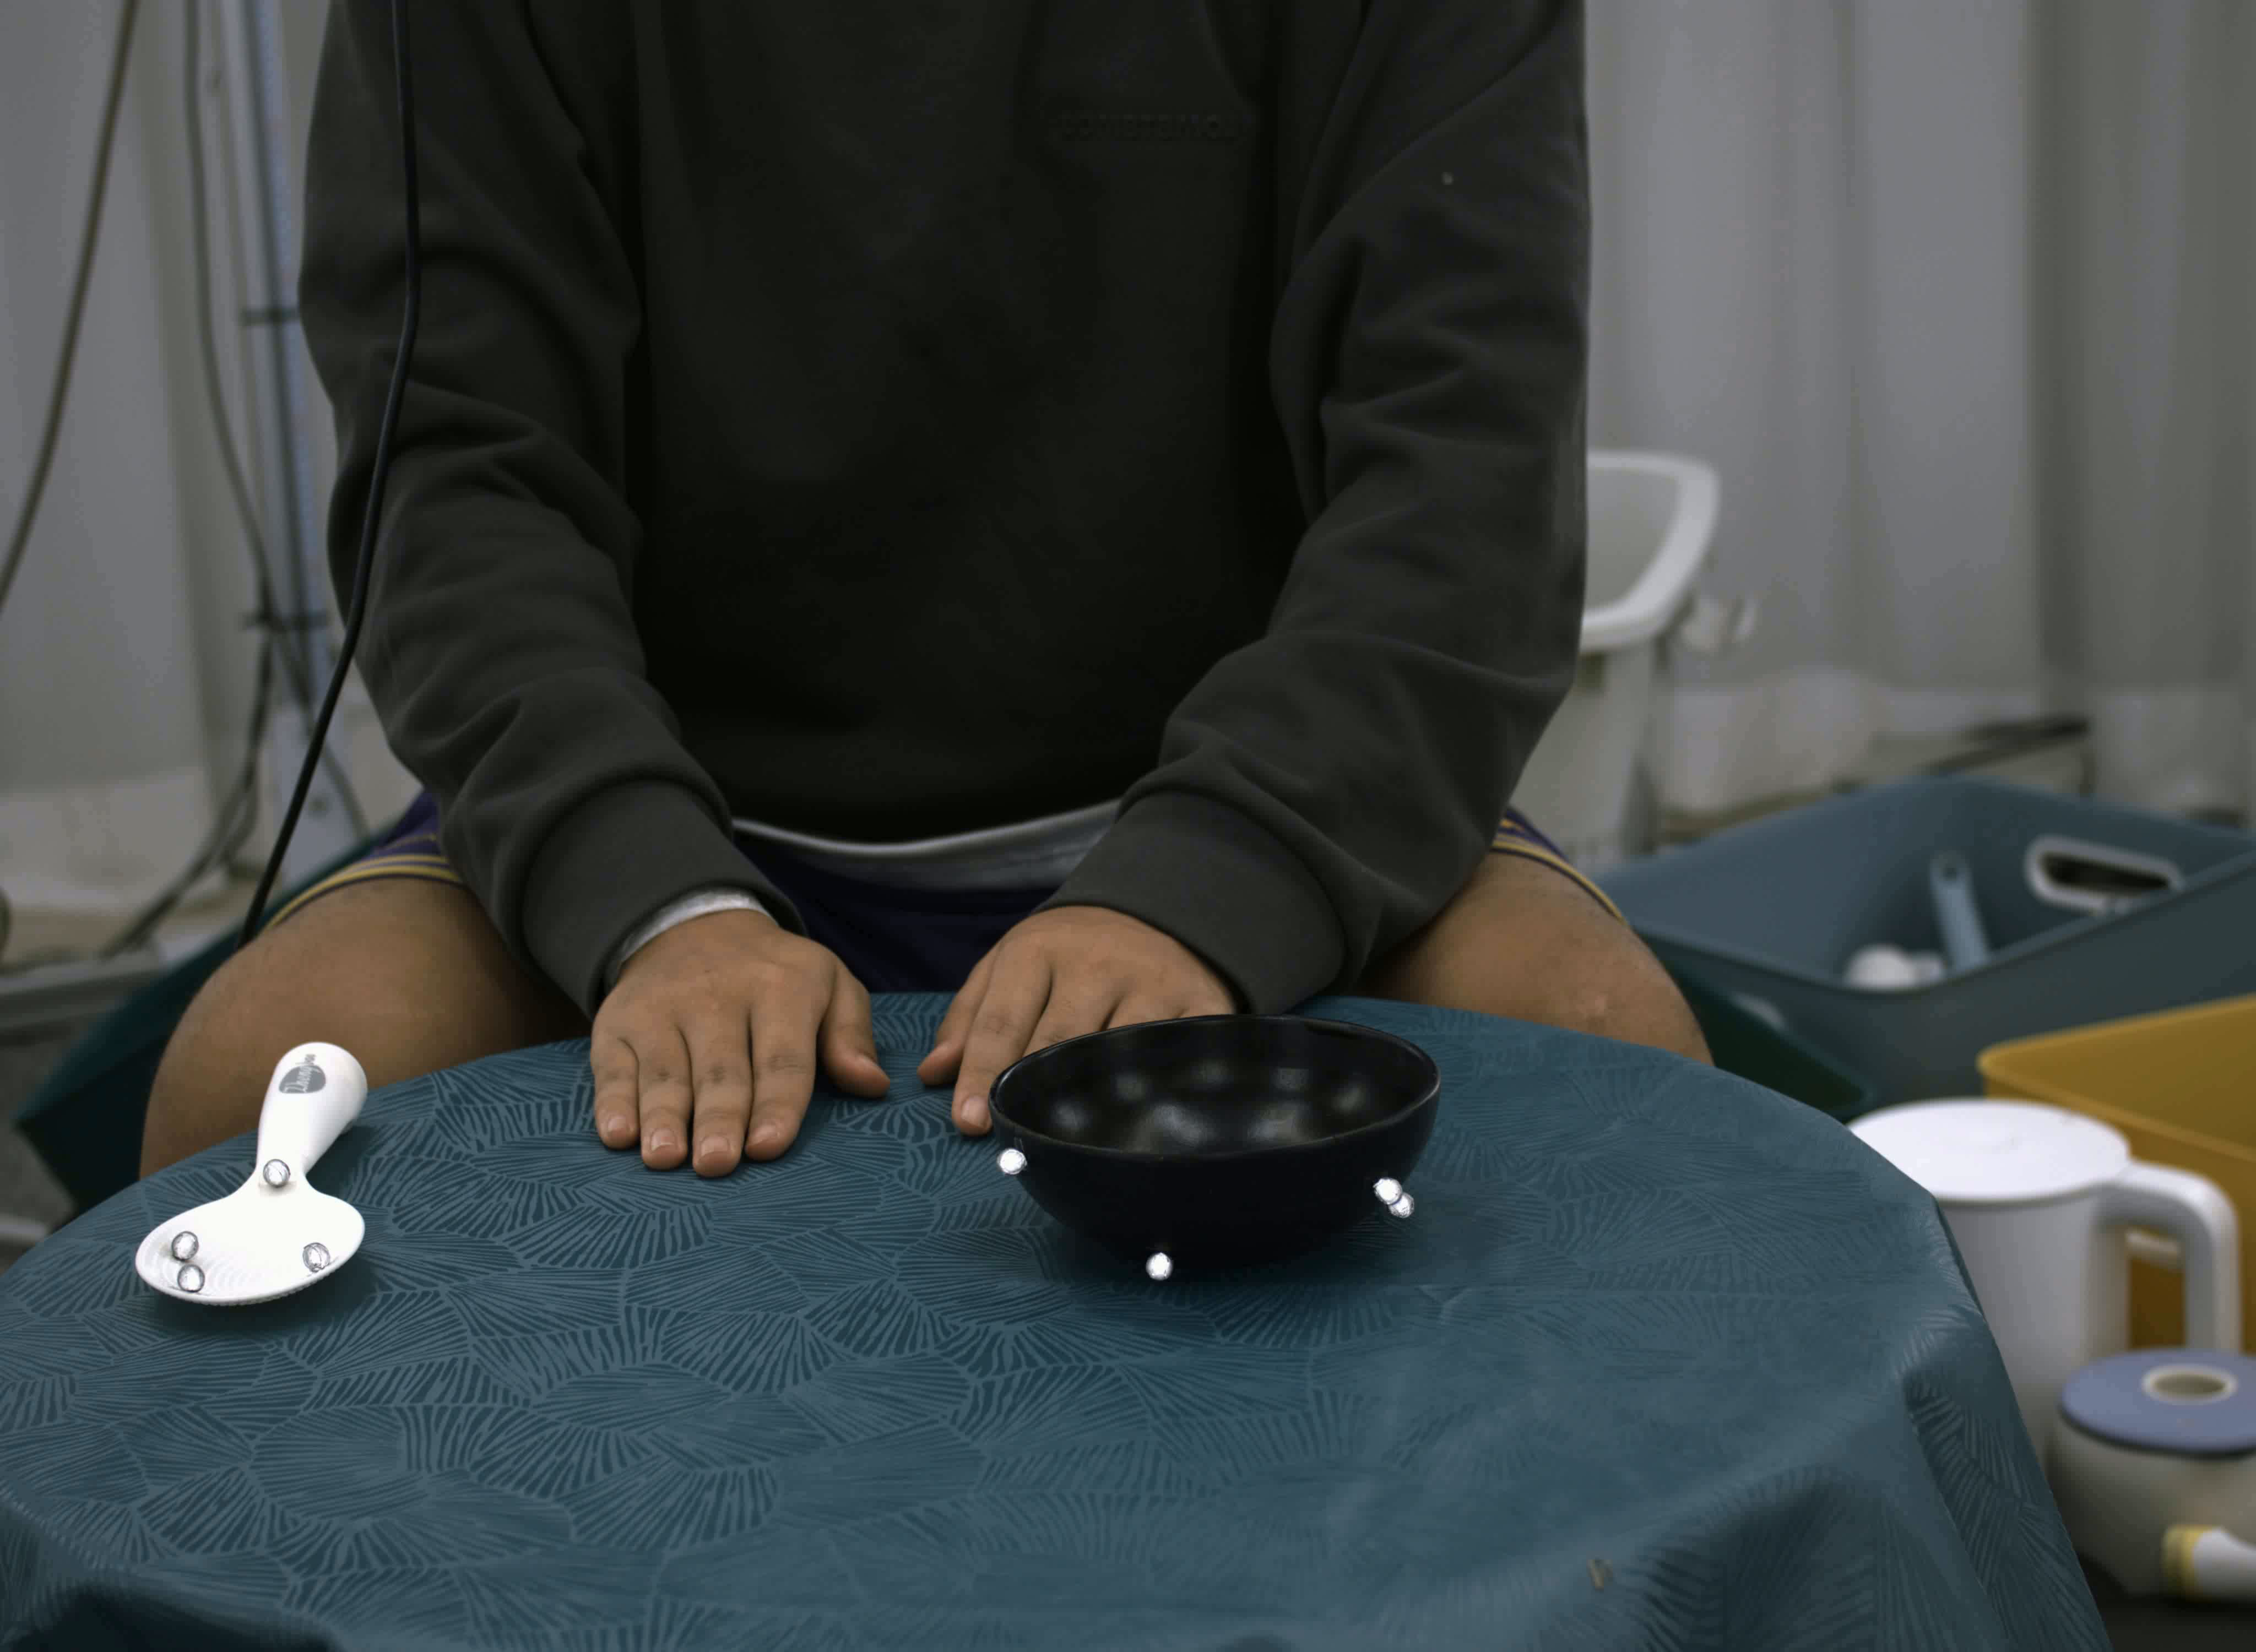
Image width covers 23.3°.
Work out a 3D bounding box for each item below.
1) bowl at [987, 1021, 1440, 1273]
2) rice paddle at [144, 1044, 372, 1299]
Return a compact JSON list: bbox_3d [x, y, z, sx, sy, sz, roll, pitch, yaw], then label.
[{"bbox_3d":[0.027,0.102,1.669,0.139,0.049,0.141,-4,13,1],"label":"bowl"},{"bbox_3d":[-0.266,0.111,1.724,0.068,0.029,0.206,-4,14,-1],"label":"rice paddle"}]
